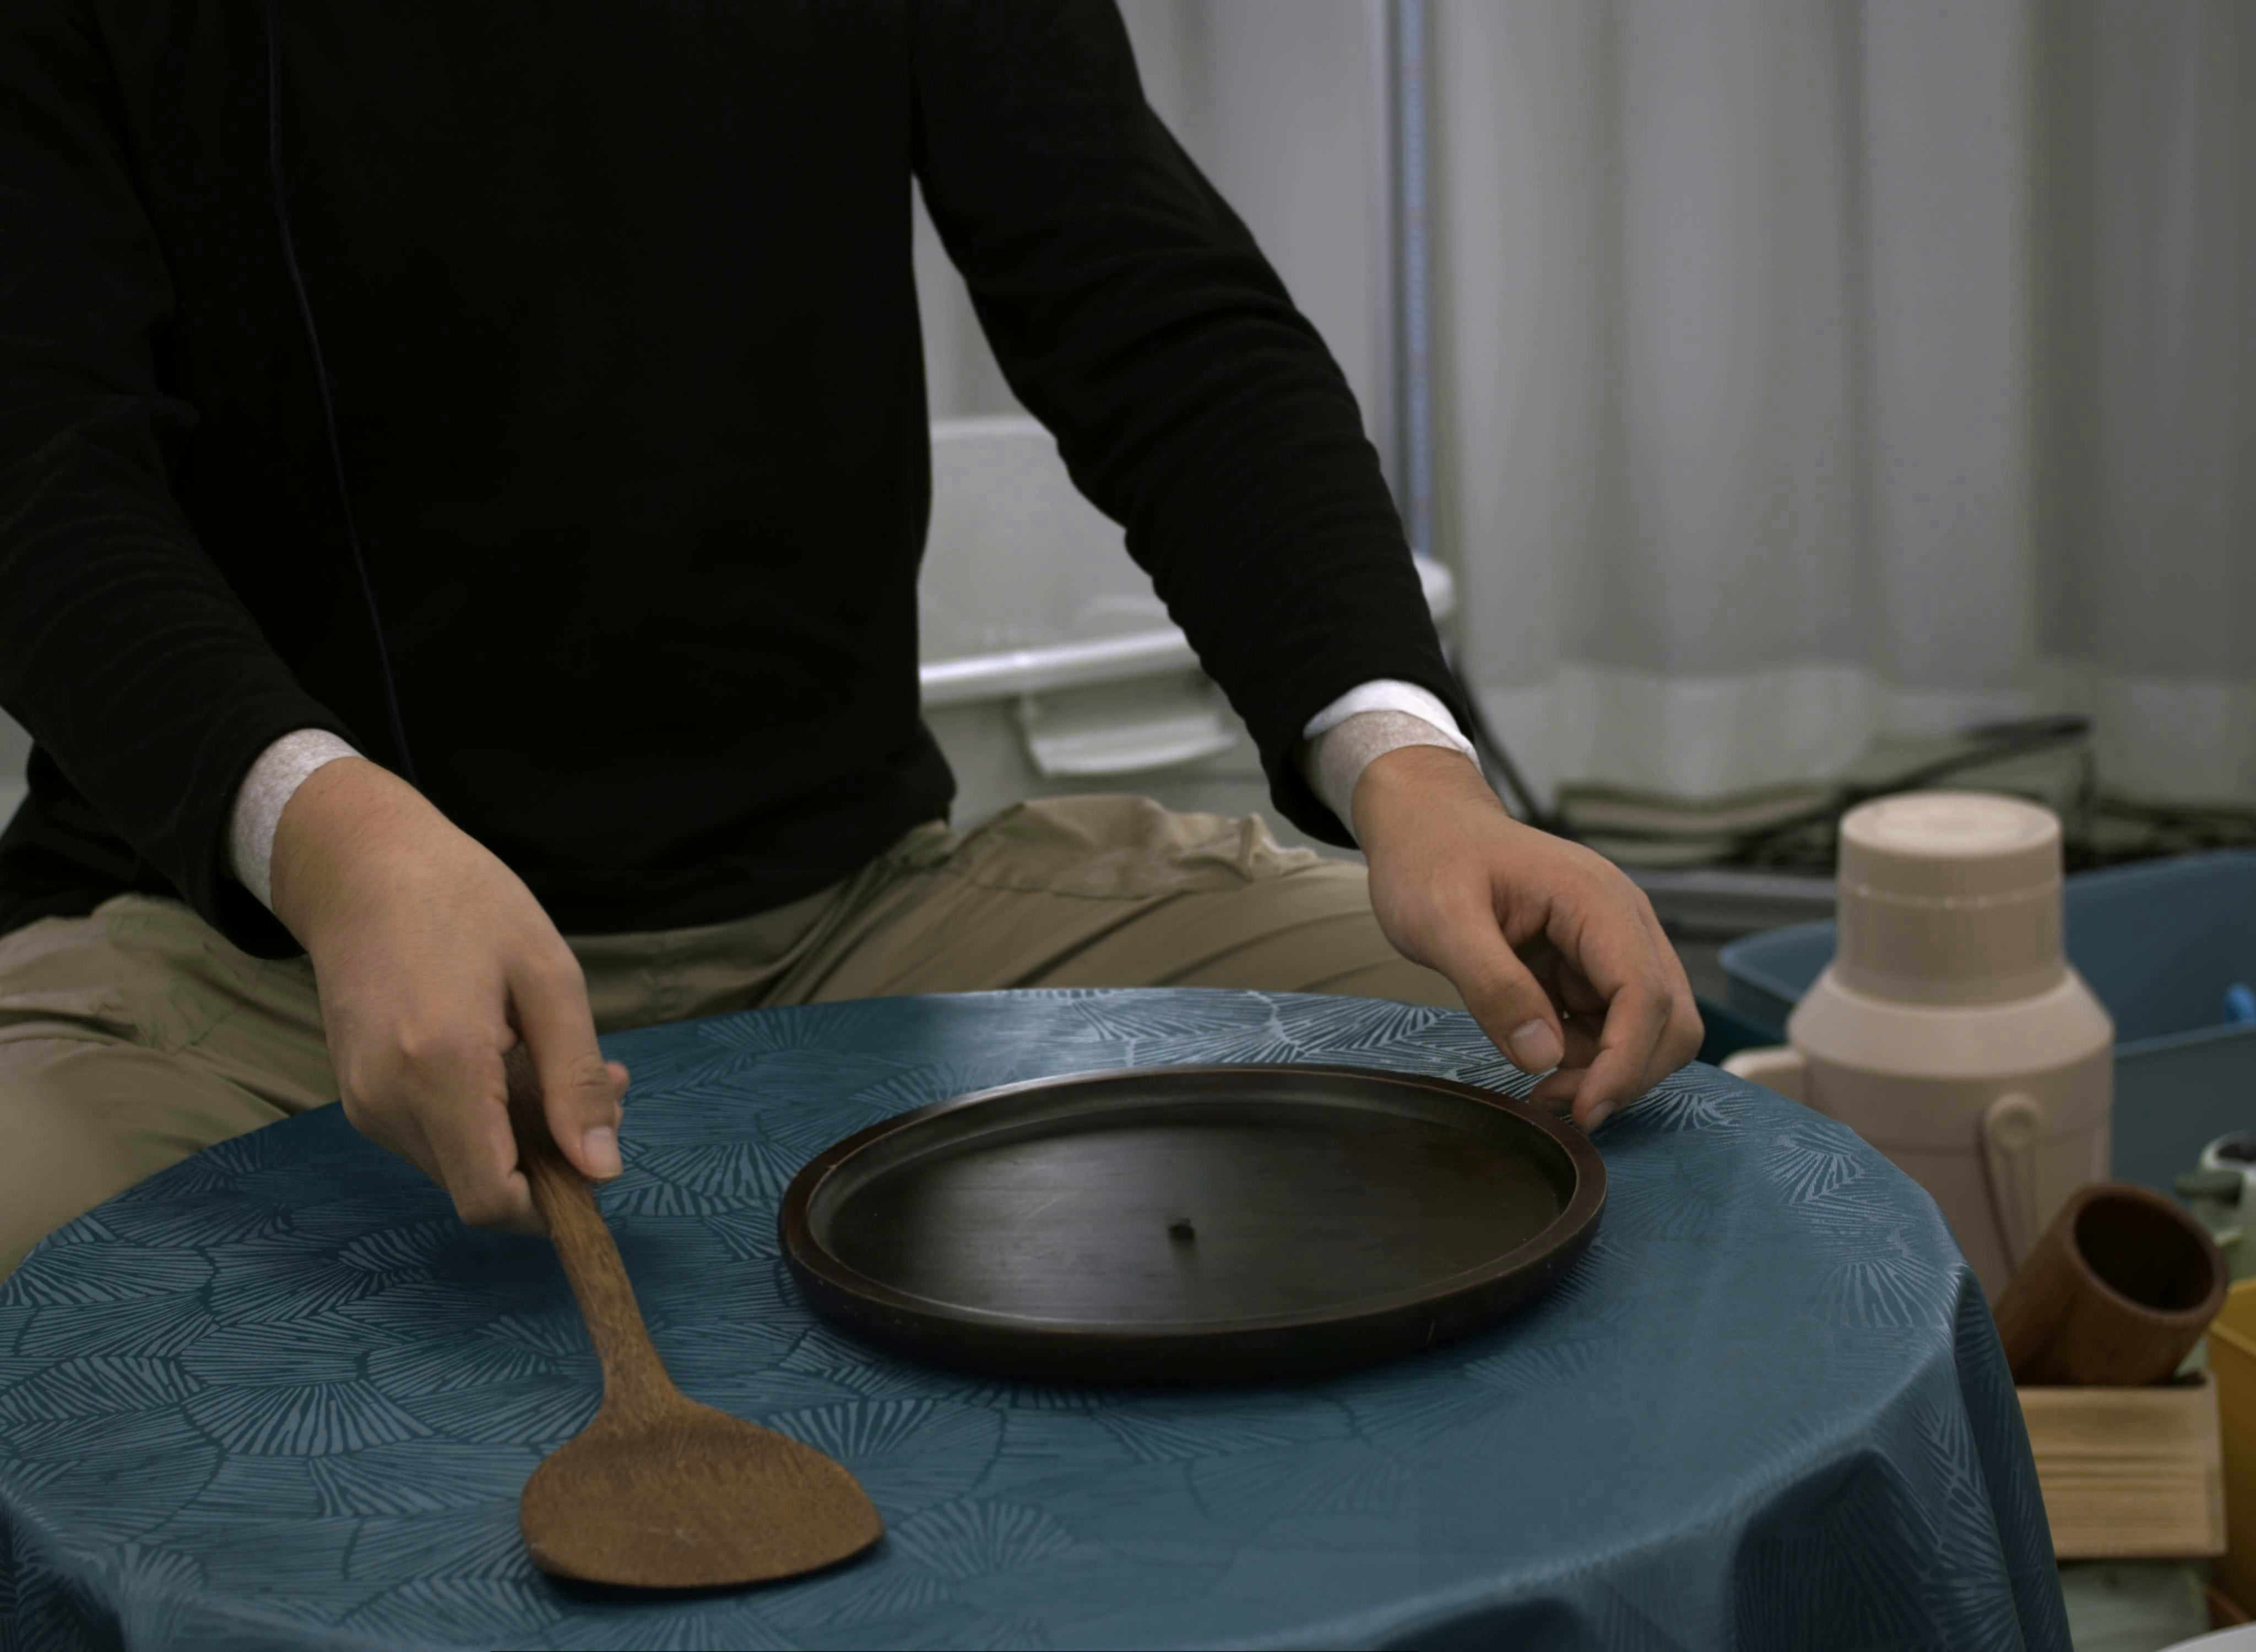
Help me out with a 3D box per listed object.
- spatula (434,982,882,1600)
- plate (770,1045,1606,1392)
[{"bbox_3d":[-0.157,0.125,1.585,0.095,0.015,0.390,-4,24,-16],"label":"spatula"},{"bbox_3d":[0.019,0.119,1.649,0.254,0.029,0.256,-4,15,1],"label":"plate"}]
